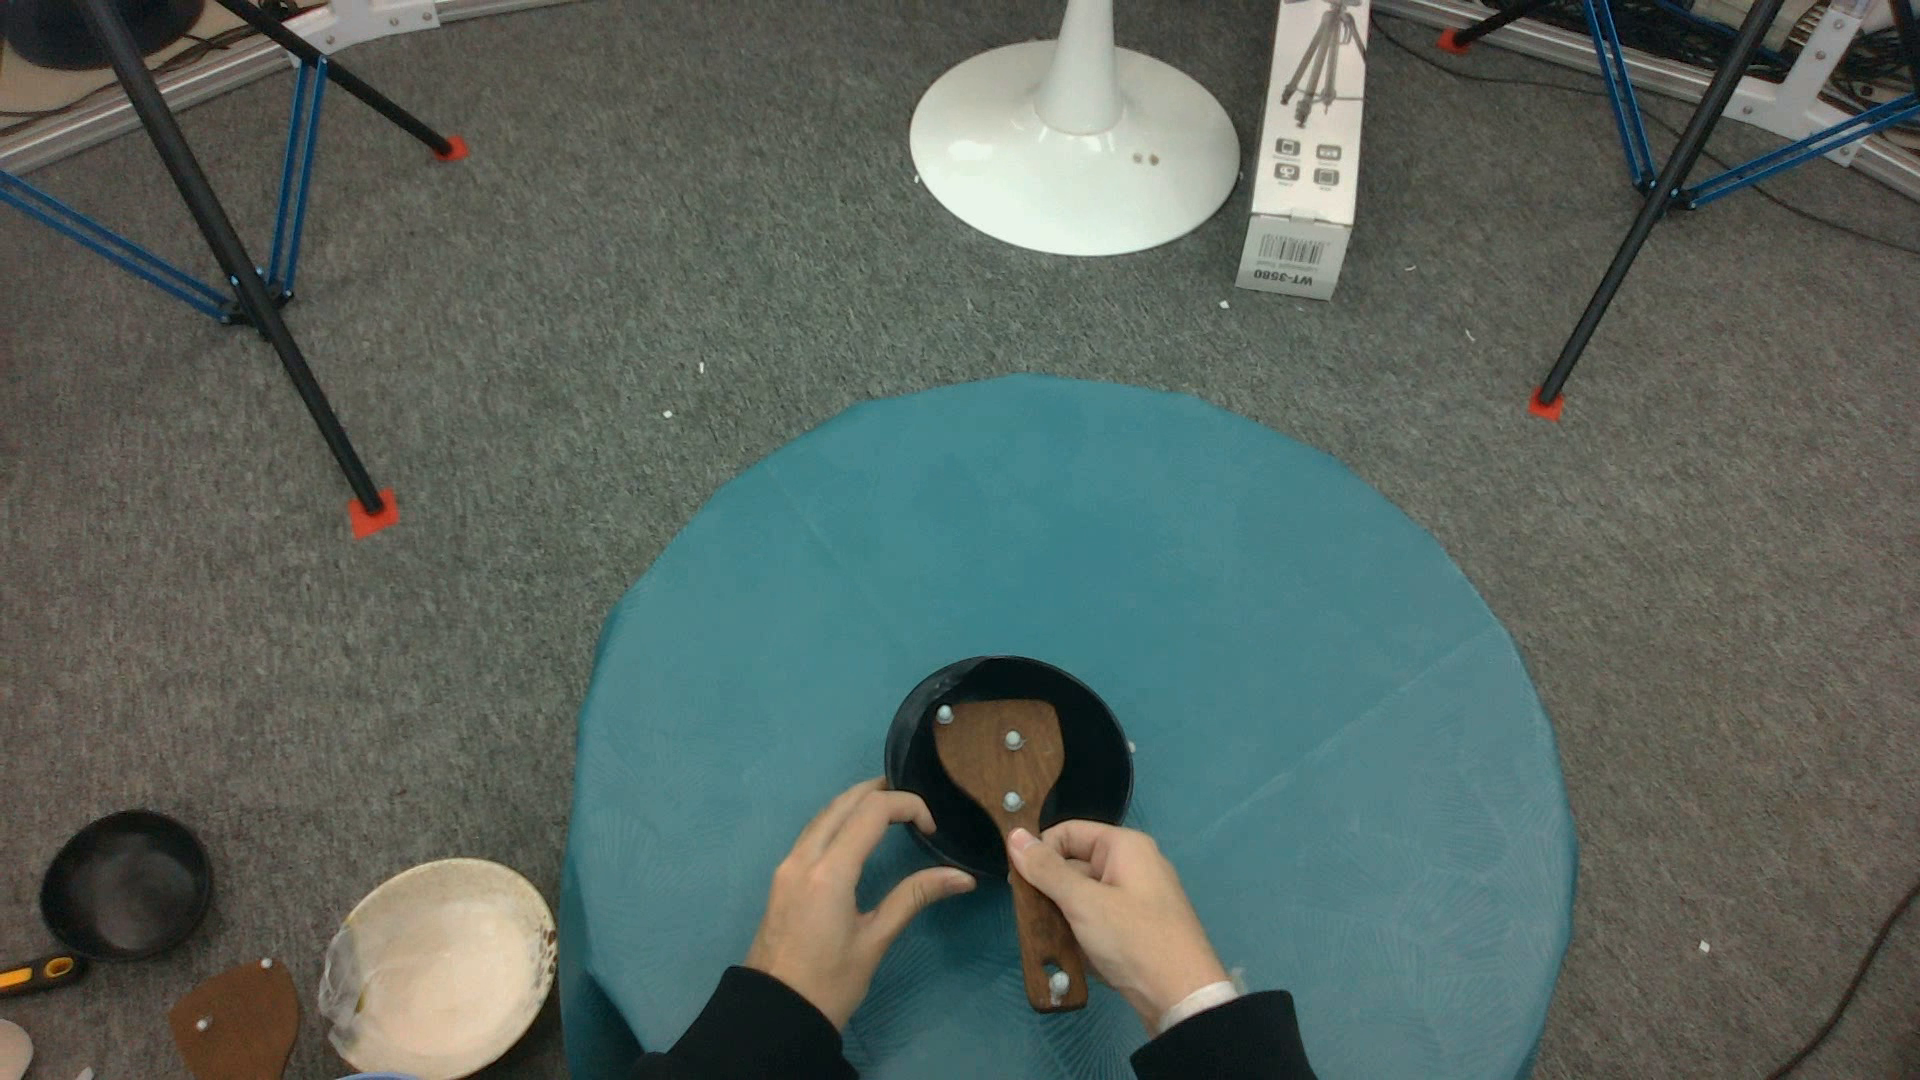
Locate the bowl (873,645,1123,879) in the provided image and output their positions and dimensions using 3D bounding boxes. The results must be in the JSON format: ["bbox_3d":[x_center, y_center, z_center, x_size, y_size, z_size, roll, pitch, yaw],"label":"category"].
[{"bbox_3d":[0.018,0.130,0.770,0.140,0.049,0.140,5,53,-7],"label":"bowl"}]

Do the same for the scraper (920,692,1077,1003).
[{"bbox_3d":[0.027,0.149,0.706,0.076,0.011,0.212,-1,33,-8],"label":"scraper"}]
